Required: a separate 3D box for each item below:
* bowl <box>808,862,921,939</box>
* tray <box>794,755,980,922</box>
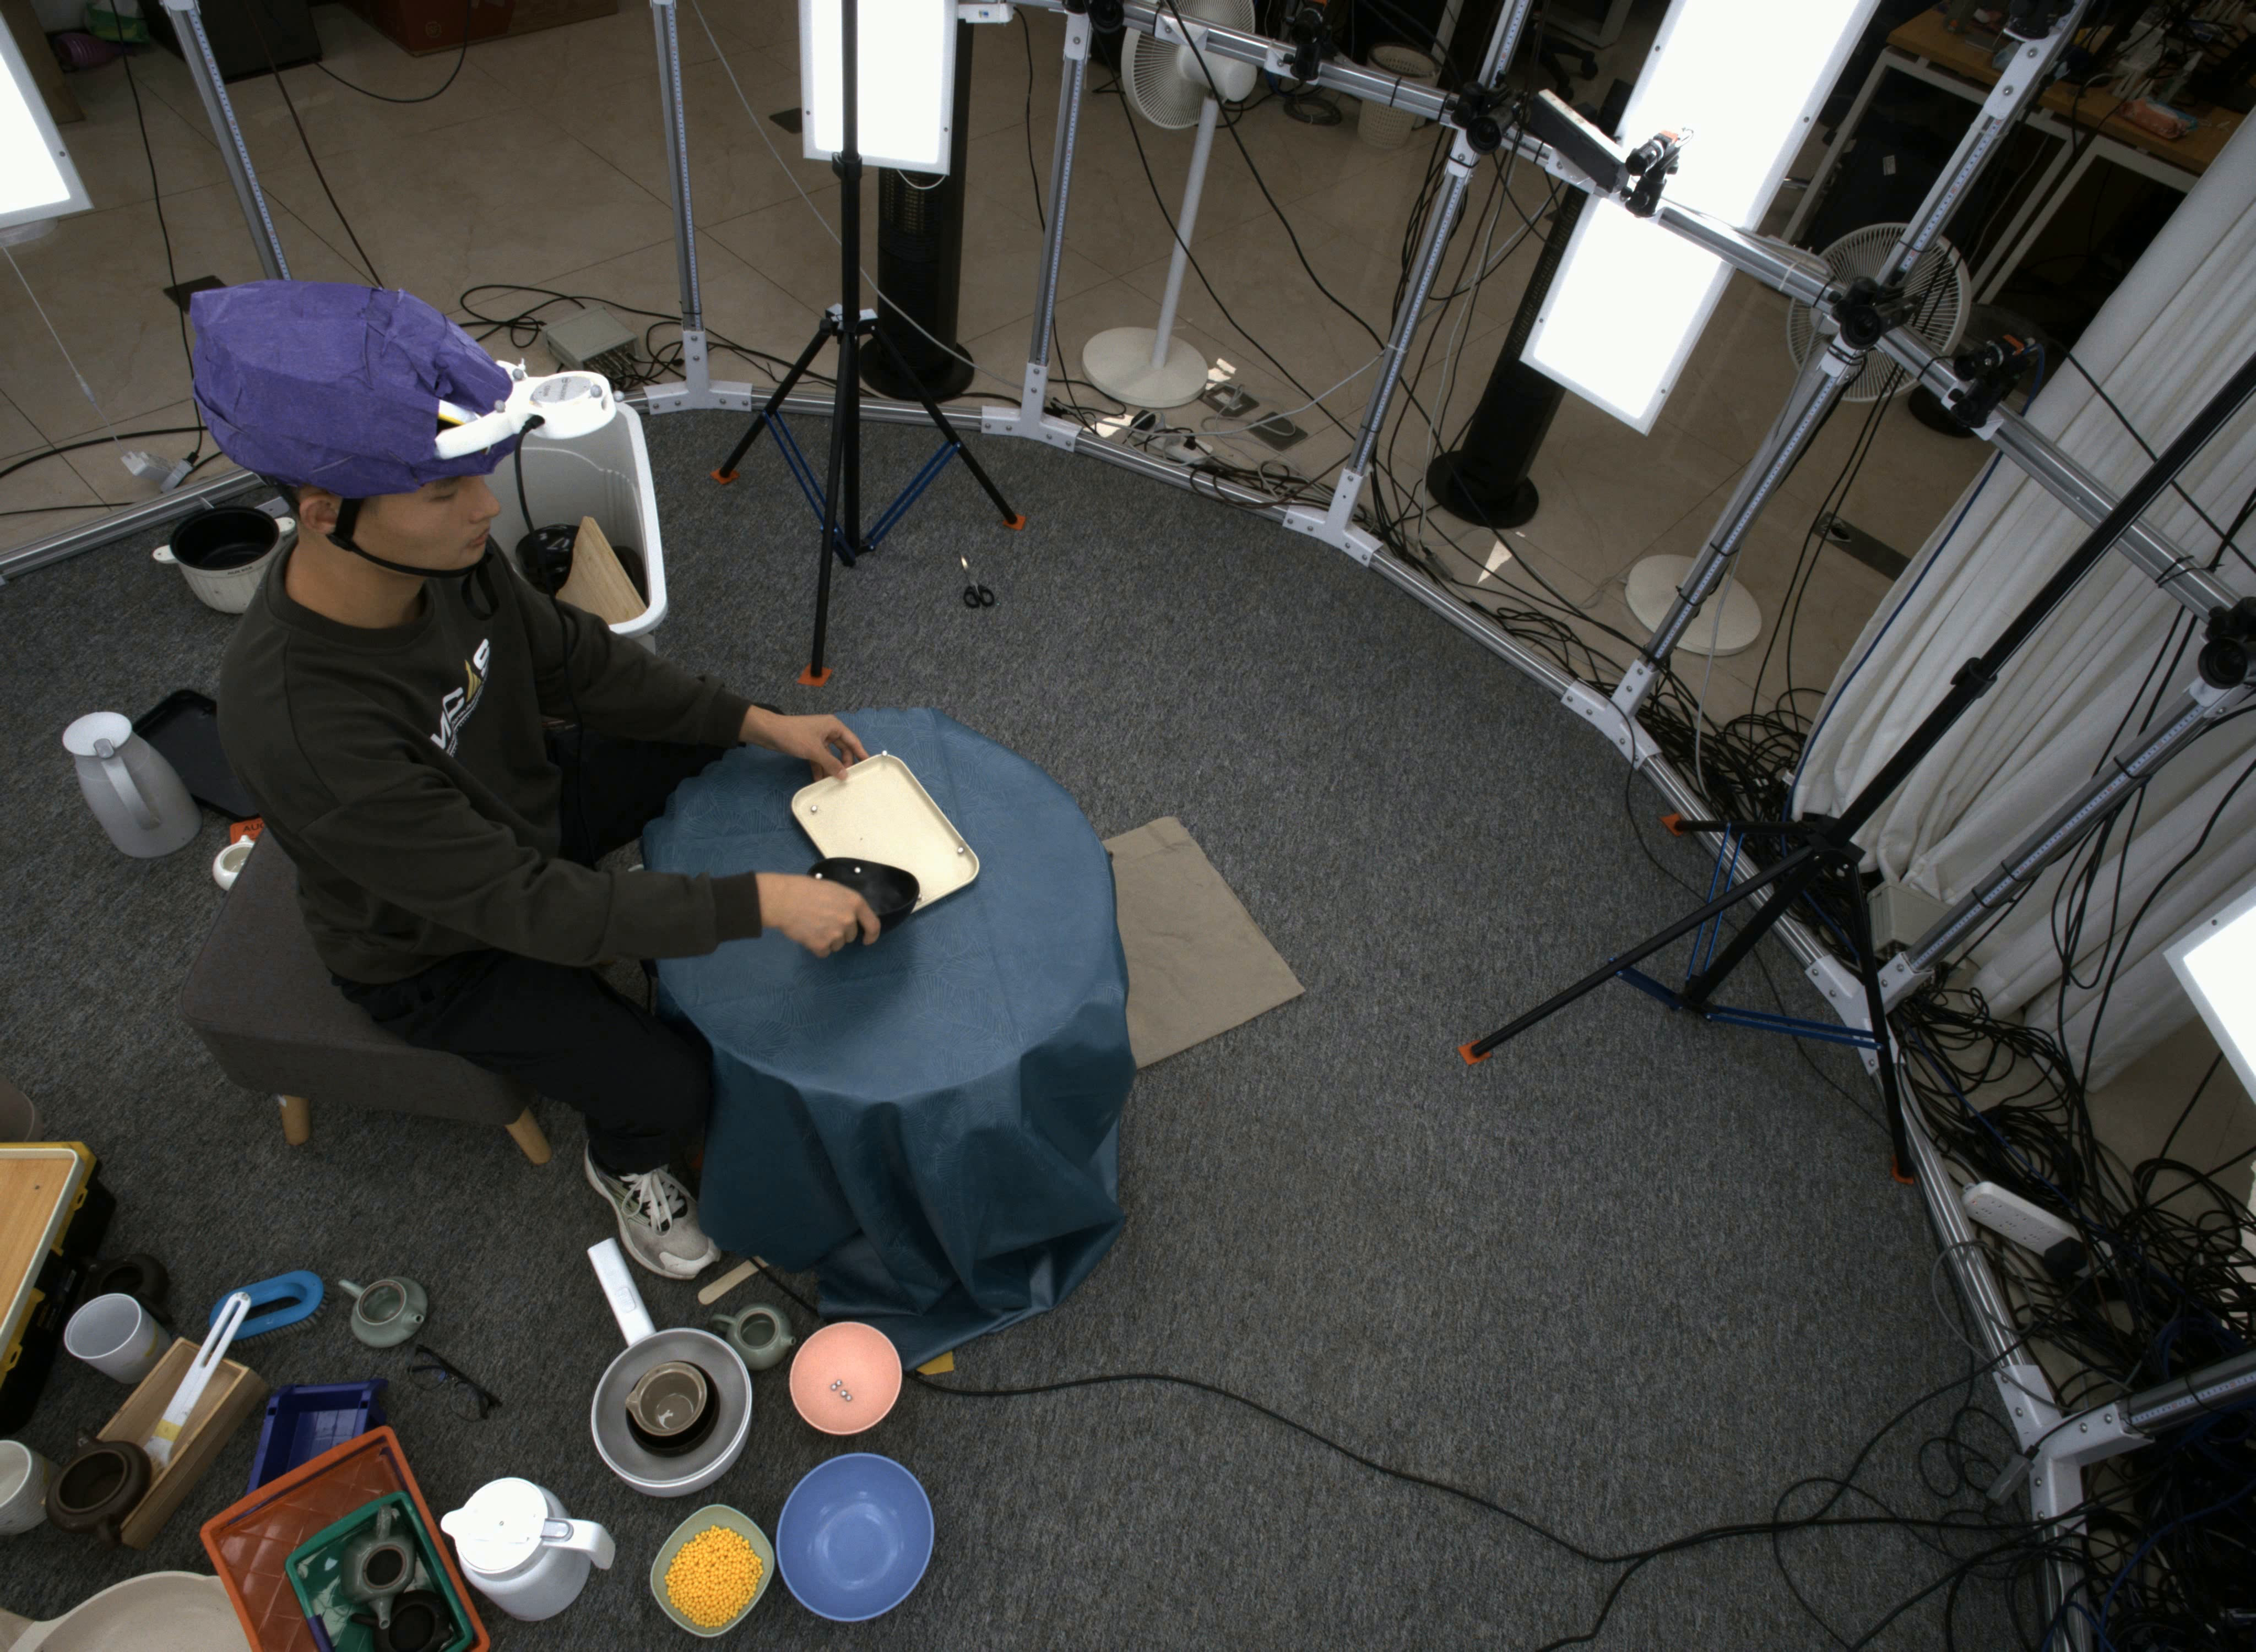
[{"bbox_3d":[-0.329,0.095,1.609,0.137,0.068,0.167,13,18,-4],"label":"bowl"},{"bbox_3d":[-0.321,0.015,1.732,0.172,0.018,0.234,-29,68,-28],"label":"tray"}]
